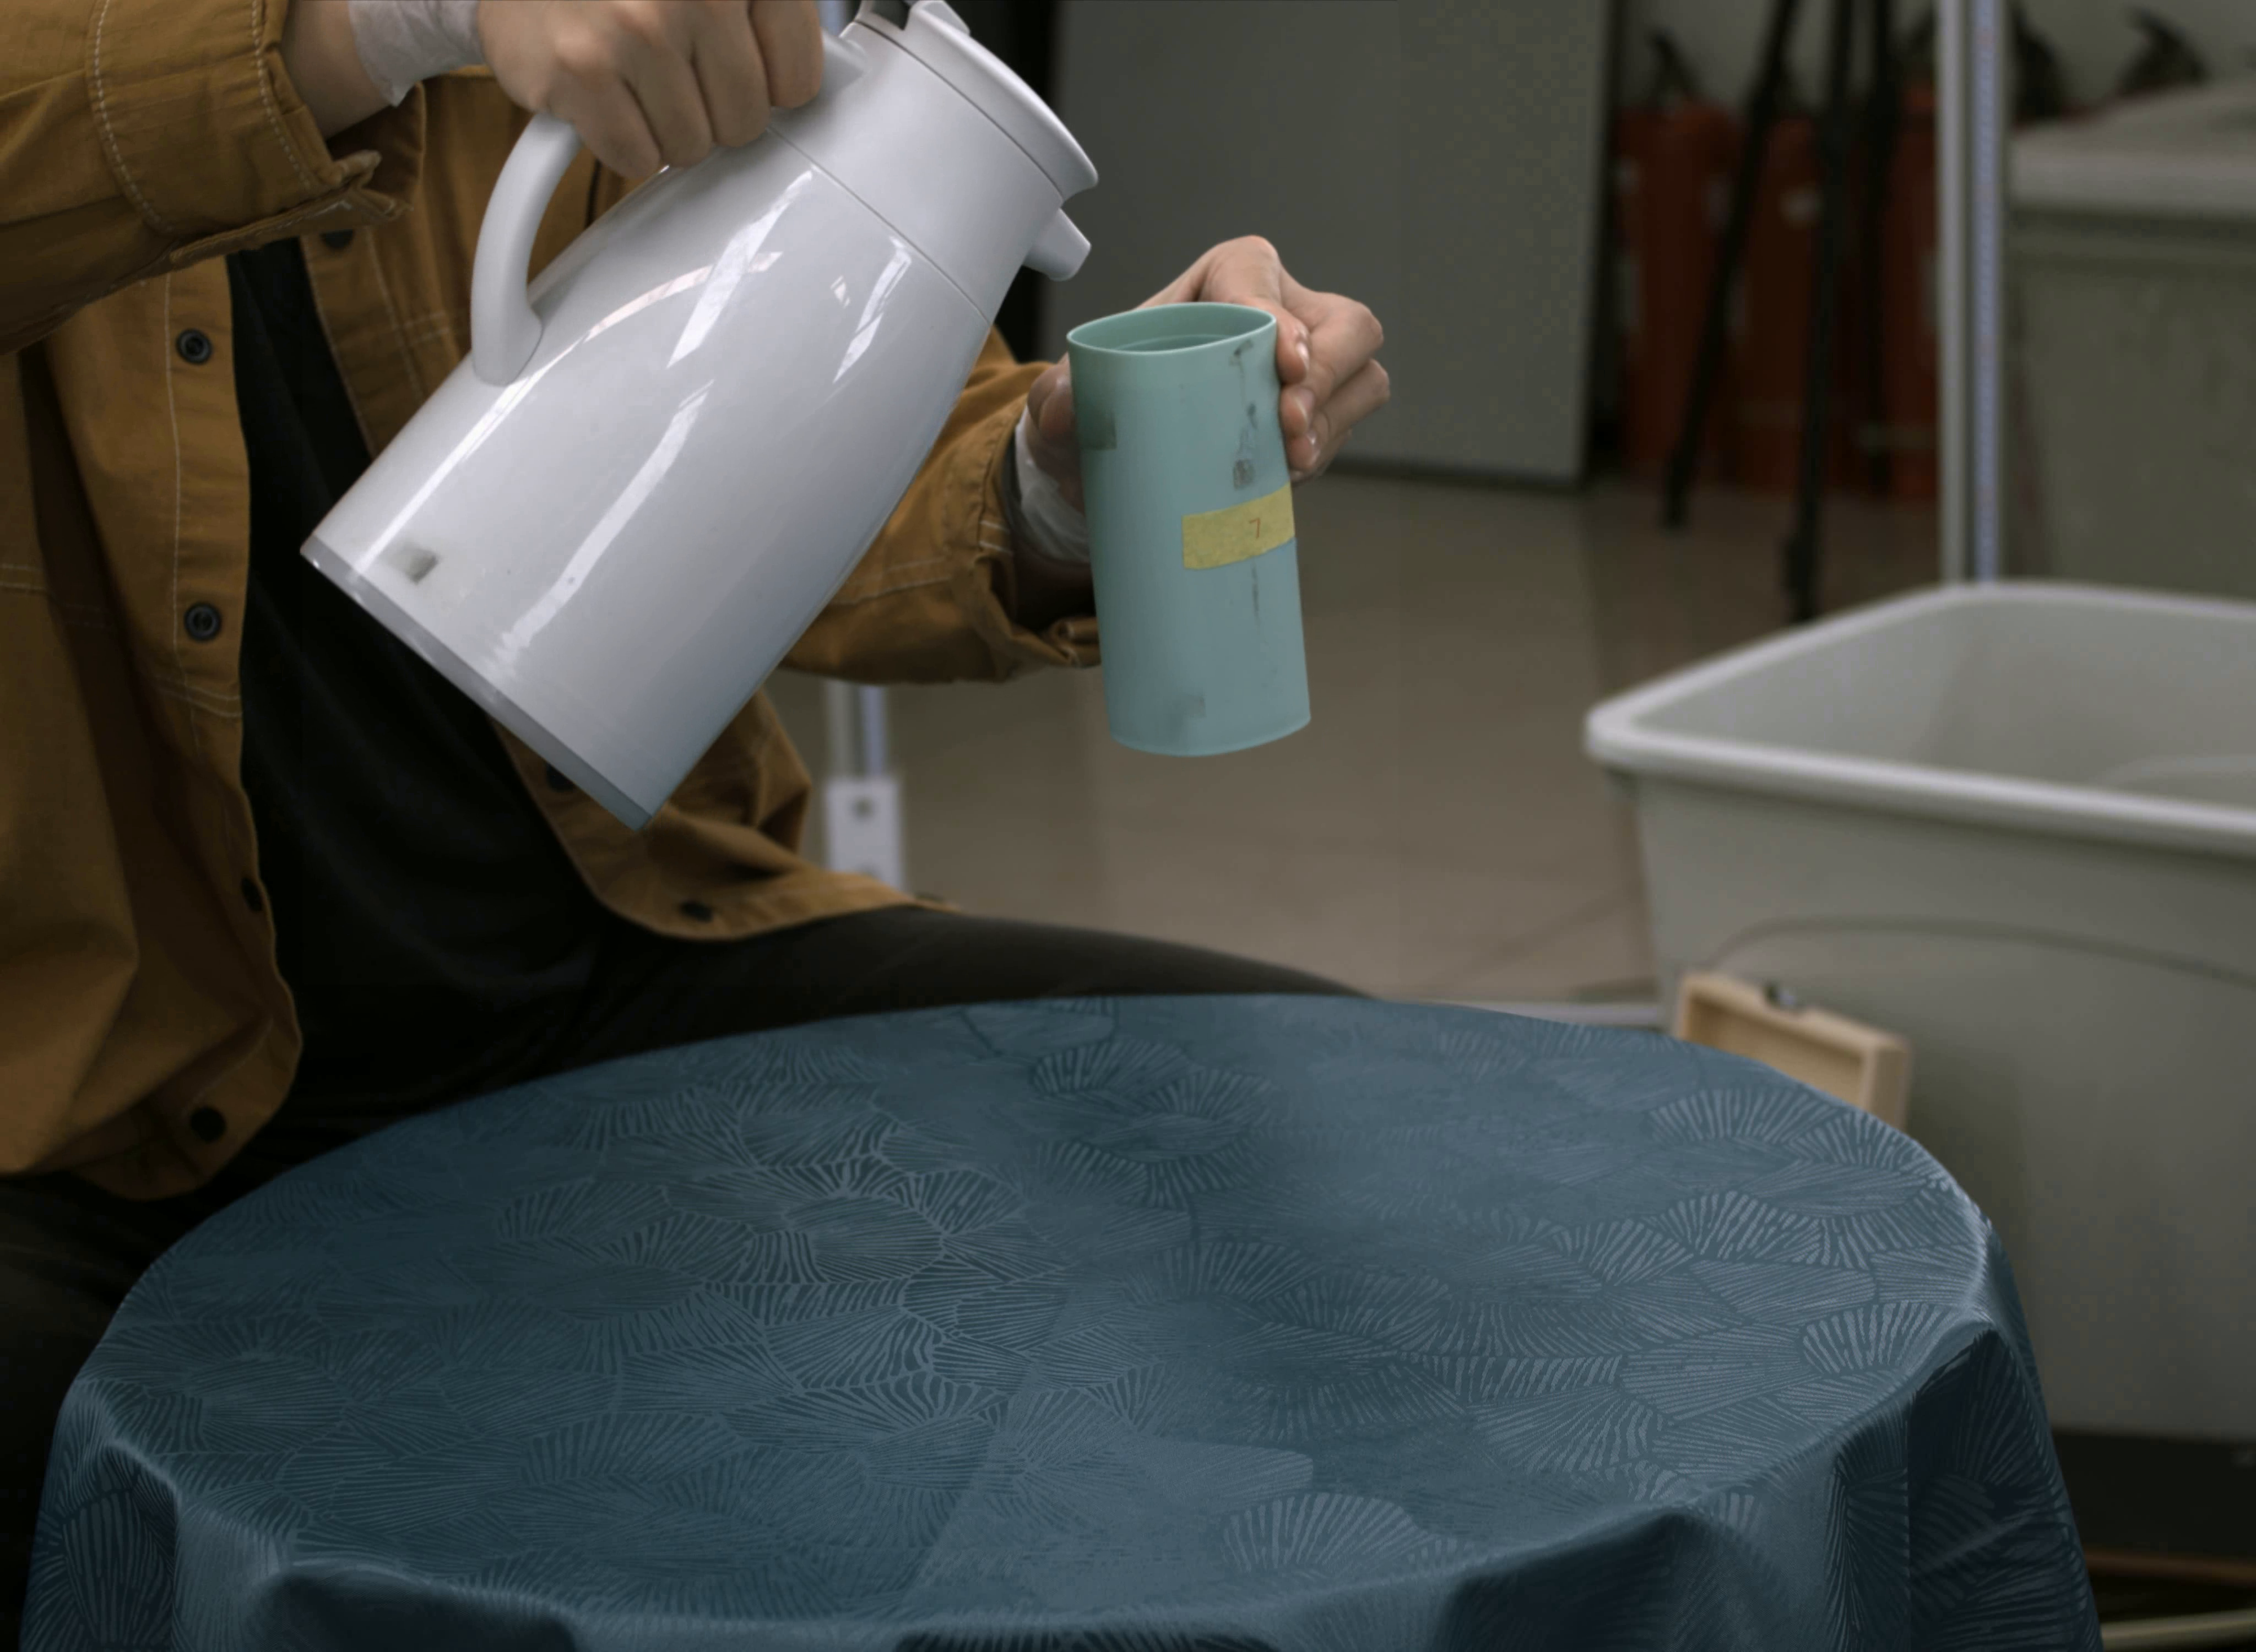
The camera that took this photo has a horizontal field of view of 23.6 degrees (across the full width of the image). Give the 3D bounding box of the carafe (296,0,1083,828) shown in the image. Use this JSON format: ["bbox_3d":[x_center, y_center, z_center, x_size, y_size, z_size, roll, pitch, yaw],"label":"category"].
[{"bbox_3d":[-0.131,-0.147,1.599,0.165,0.249,0.134,39,-2,-36],"label":"carafe"}]

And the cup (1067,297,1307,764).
[{"bbox_3d":[0.018,-0.093,1.682,0.066,0.133,0.067,-5,17,1],"label":"cup"}]
